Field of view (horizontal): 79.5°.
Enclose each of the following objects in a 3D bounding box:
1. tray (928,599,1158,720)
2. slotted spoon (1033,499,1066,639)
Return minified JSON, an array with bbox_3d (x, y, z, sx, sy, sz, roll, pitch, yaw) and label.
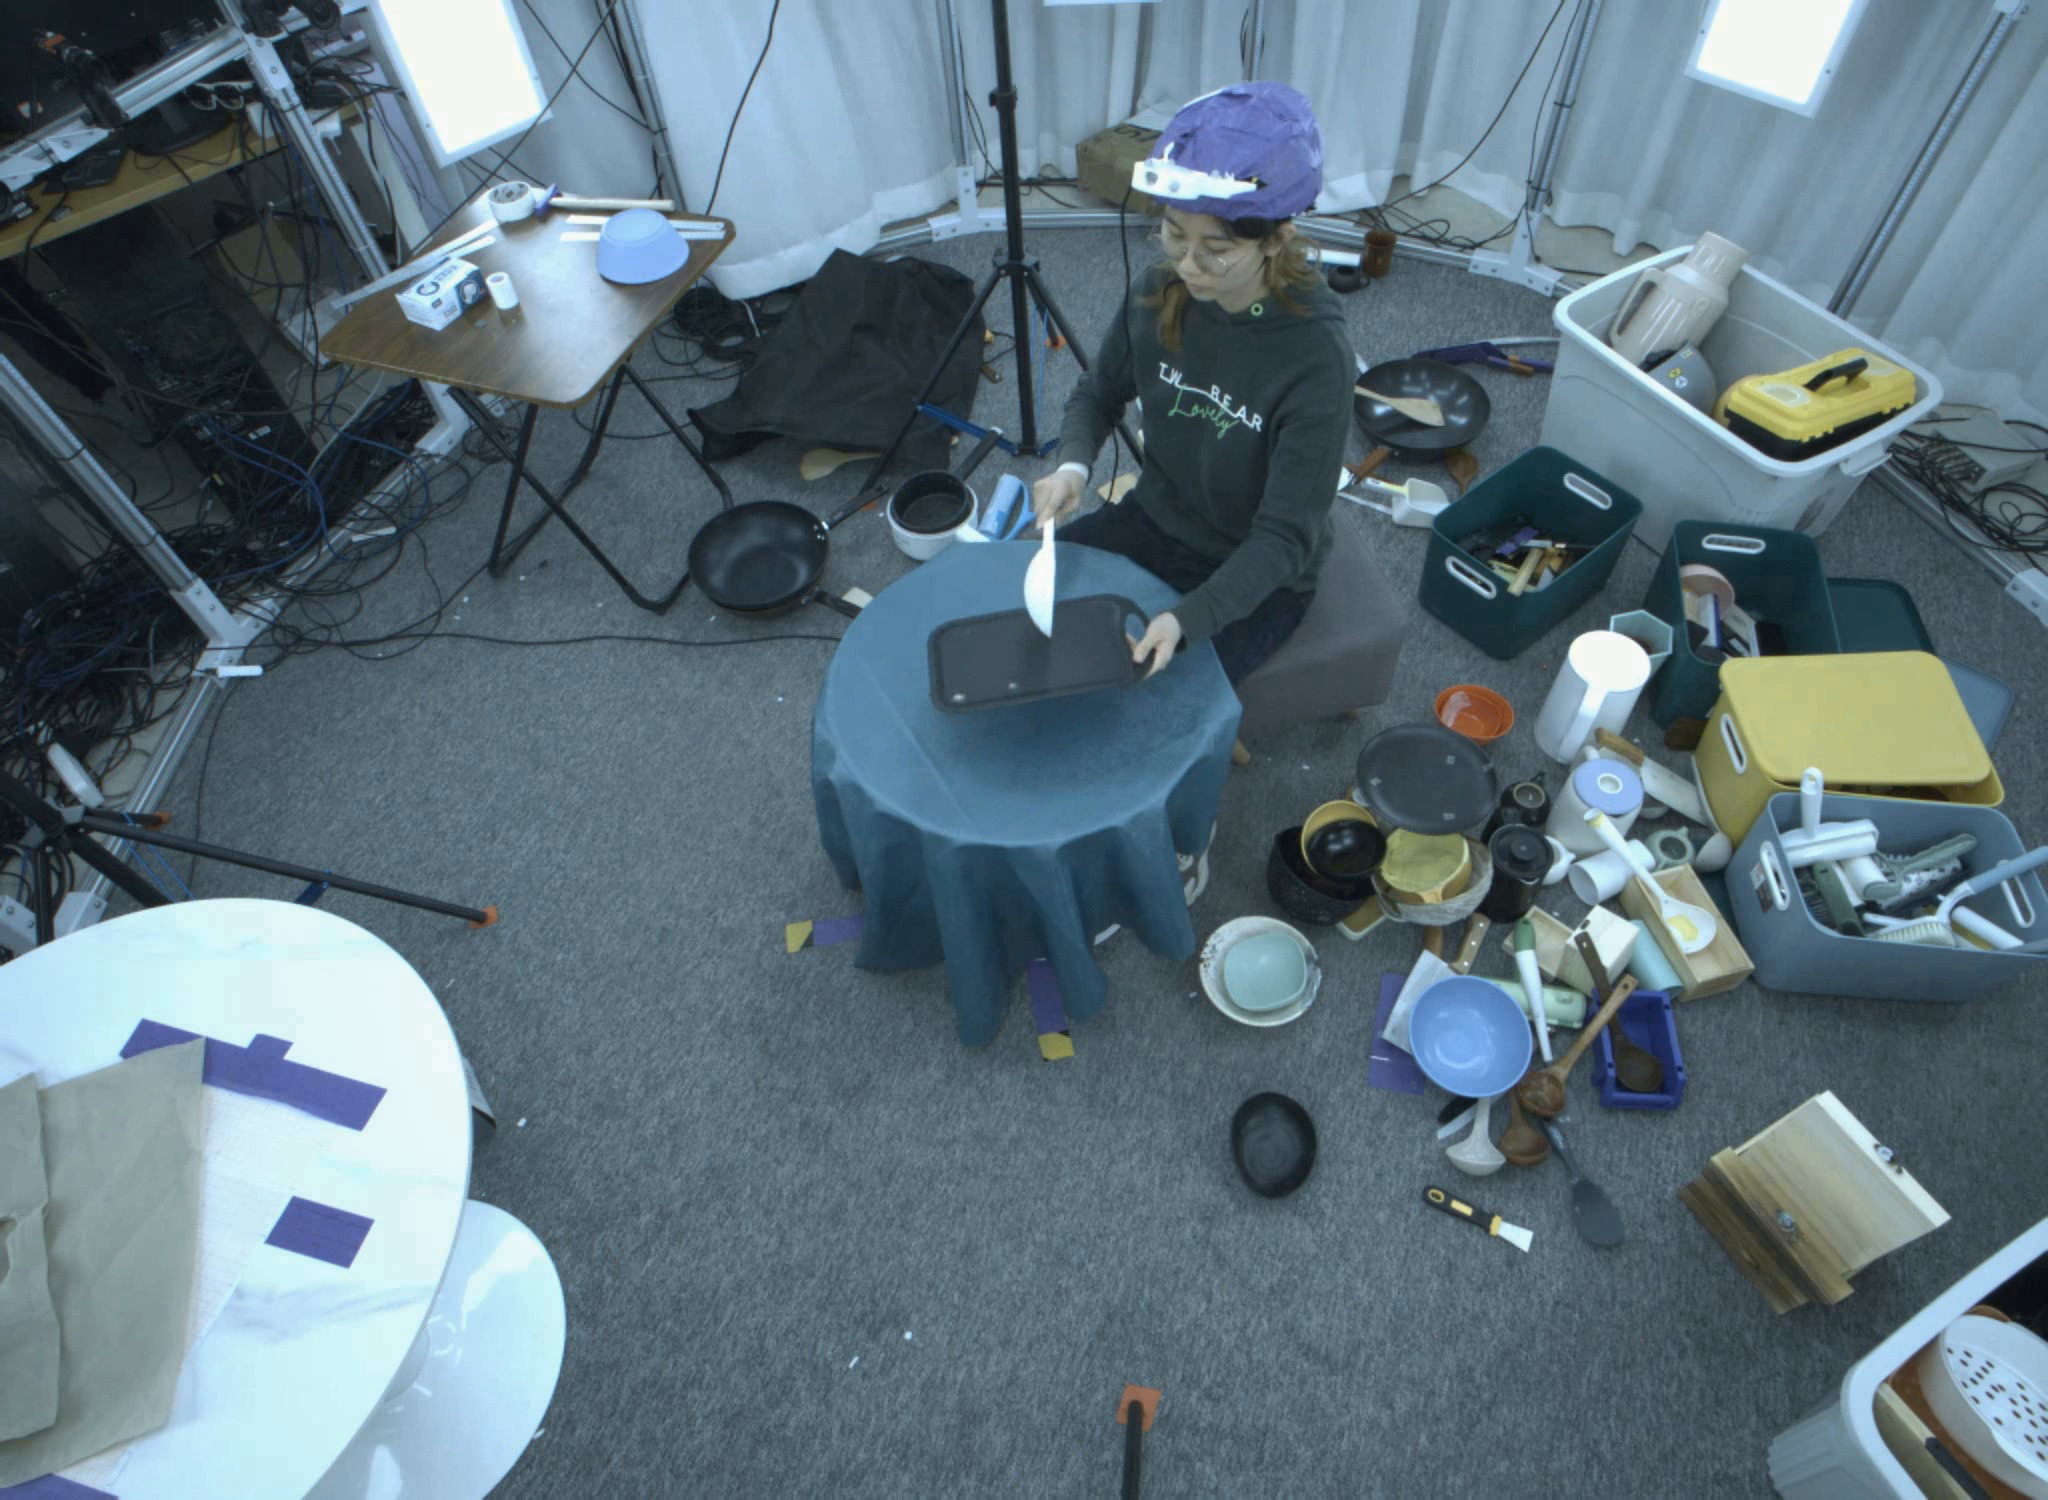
[{"bbox_3d":[0.026,-0.135,1.744,0.326,0.010,0.208,-10,45,-1],"label":"tray"},{"bbox_3d":[0.040,-0.287,1.810,0.045,0.138,0.346,-3,37,6],"label":"slotted spoon"}]
